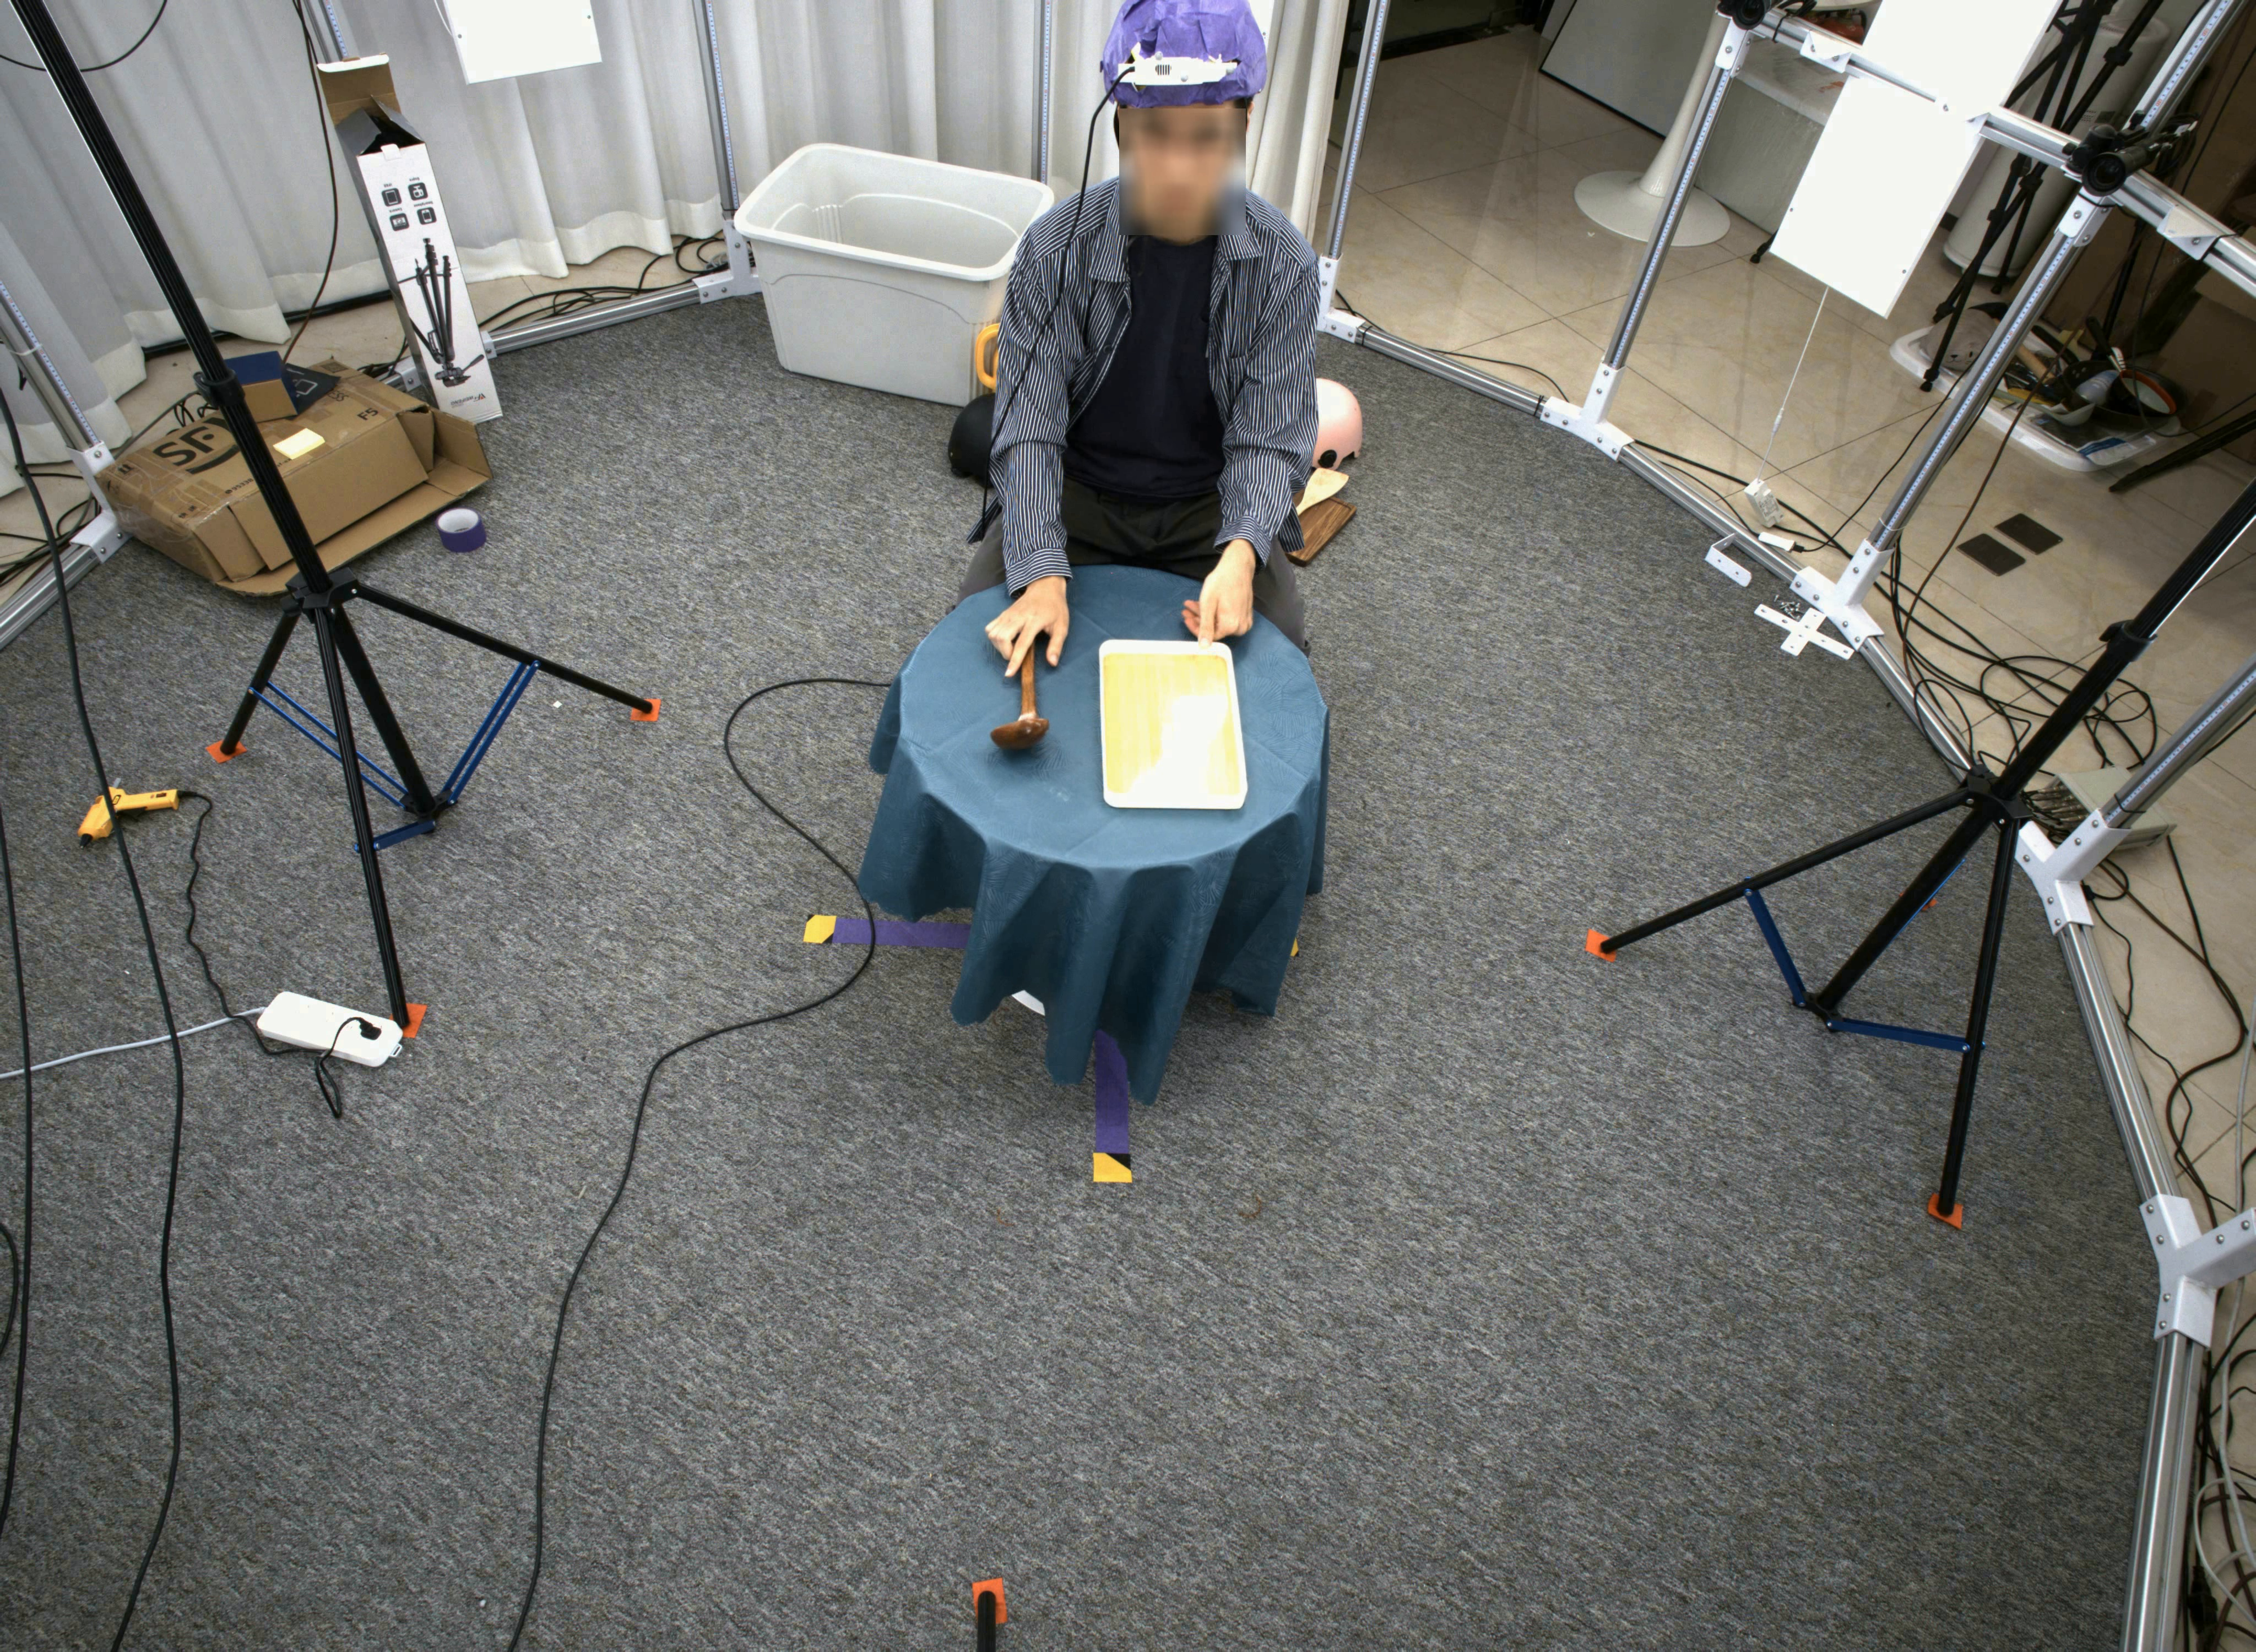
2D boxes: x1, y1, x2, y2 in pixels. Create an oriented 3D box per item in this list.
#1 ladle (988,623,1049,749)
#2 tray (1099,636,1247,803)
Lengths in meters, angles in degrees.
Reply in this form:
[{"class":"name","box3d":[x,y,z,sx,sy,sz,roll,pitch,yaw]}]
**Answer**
[{"class":"ladle","box3d":[-0.148,-0.209,1.780,0.082,0.075,0.281,-10,49,9]},{"class":"tray","box3d":[0.057,-0.152,1.780,0.191,0.027,0.308,1,48,-4]}]
